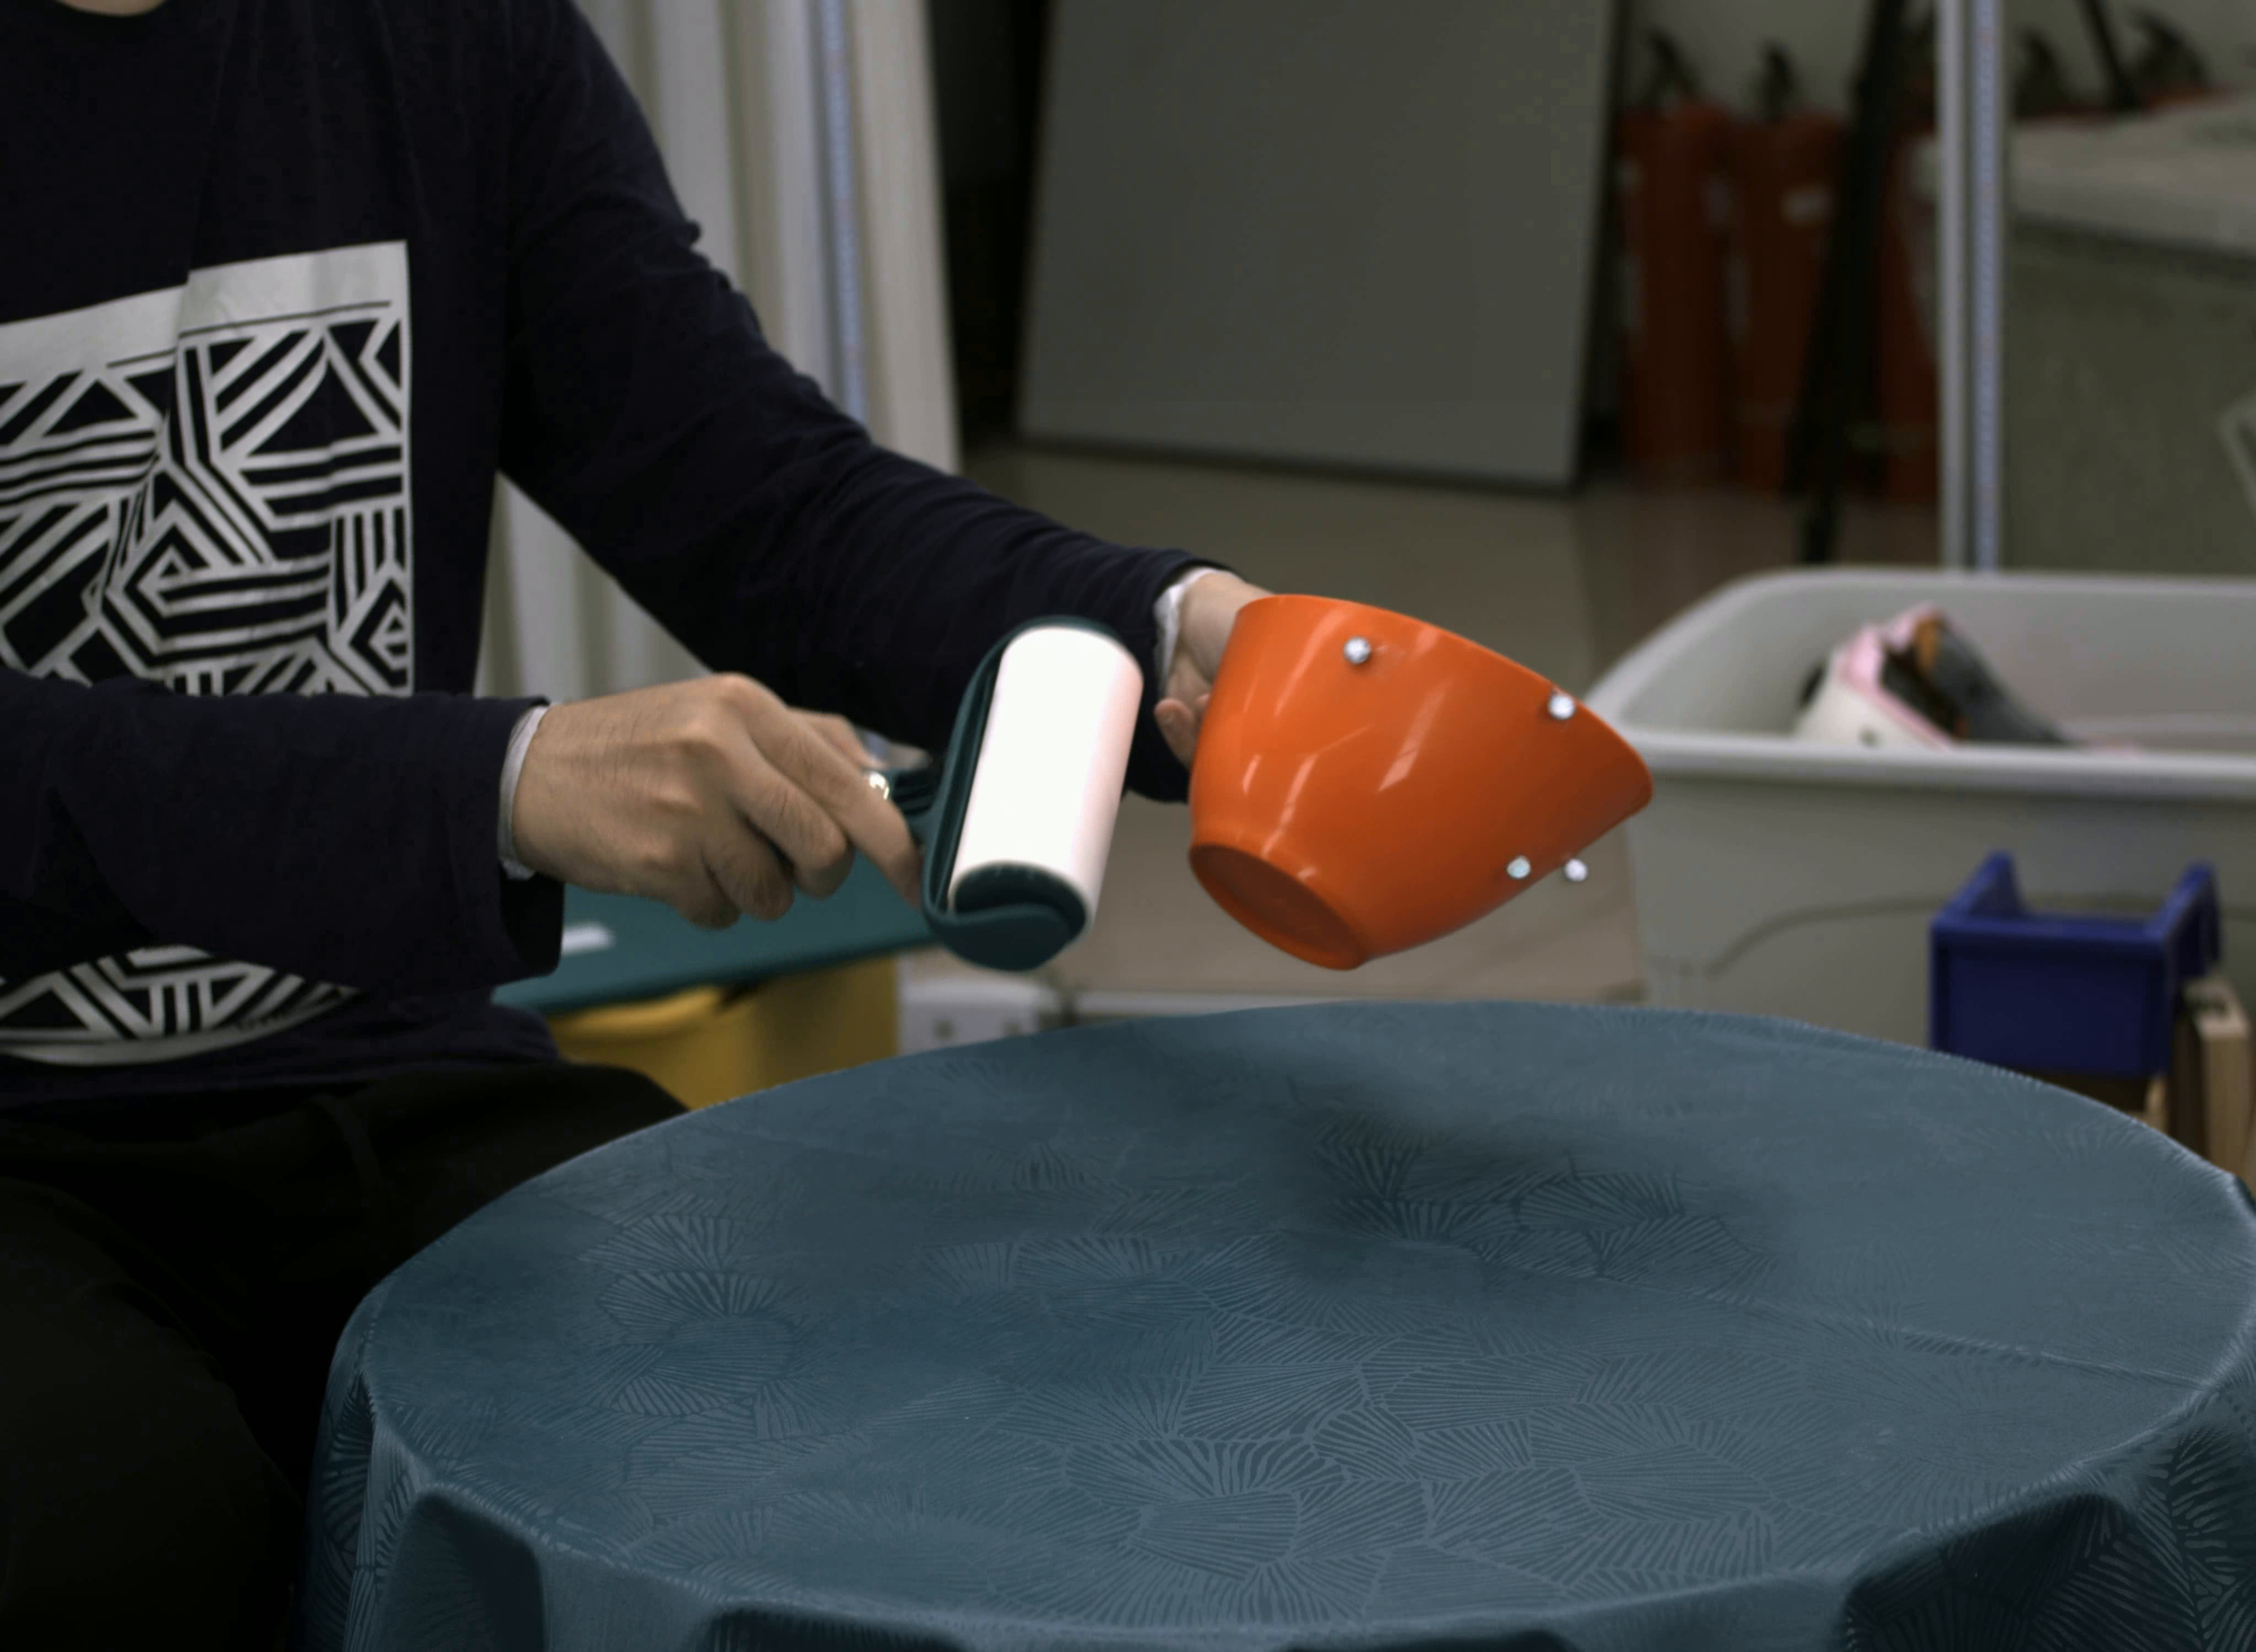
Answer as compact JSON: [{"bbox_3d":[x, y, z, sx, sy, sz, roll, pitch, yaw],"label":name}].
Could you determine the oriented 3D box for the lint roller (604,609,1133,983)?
[{"bbox_3d":[-0.091,-0.005,1.735,0.179,0.048,0.135,-3,48,17],"label":"lint roller"}]

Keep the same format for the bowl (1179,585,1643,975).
[{"bbox_3d":[0.079,-0.006,1.737,0.149,0.146,0.104,10,58,45],"label":"bowl"}]
